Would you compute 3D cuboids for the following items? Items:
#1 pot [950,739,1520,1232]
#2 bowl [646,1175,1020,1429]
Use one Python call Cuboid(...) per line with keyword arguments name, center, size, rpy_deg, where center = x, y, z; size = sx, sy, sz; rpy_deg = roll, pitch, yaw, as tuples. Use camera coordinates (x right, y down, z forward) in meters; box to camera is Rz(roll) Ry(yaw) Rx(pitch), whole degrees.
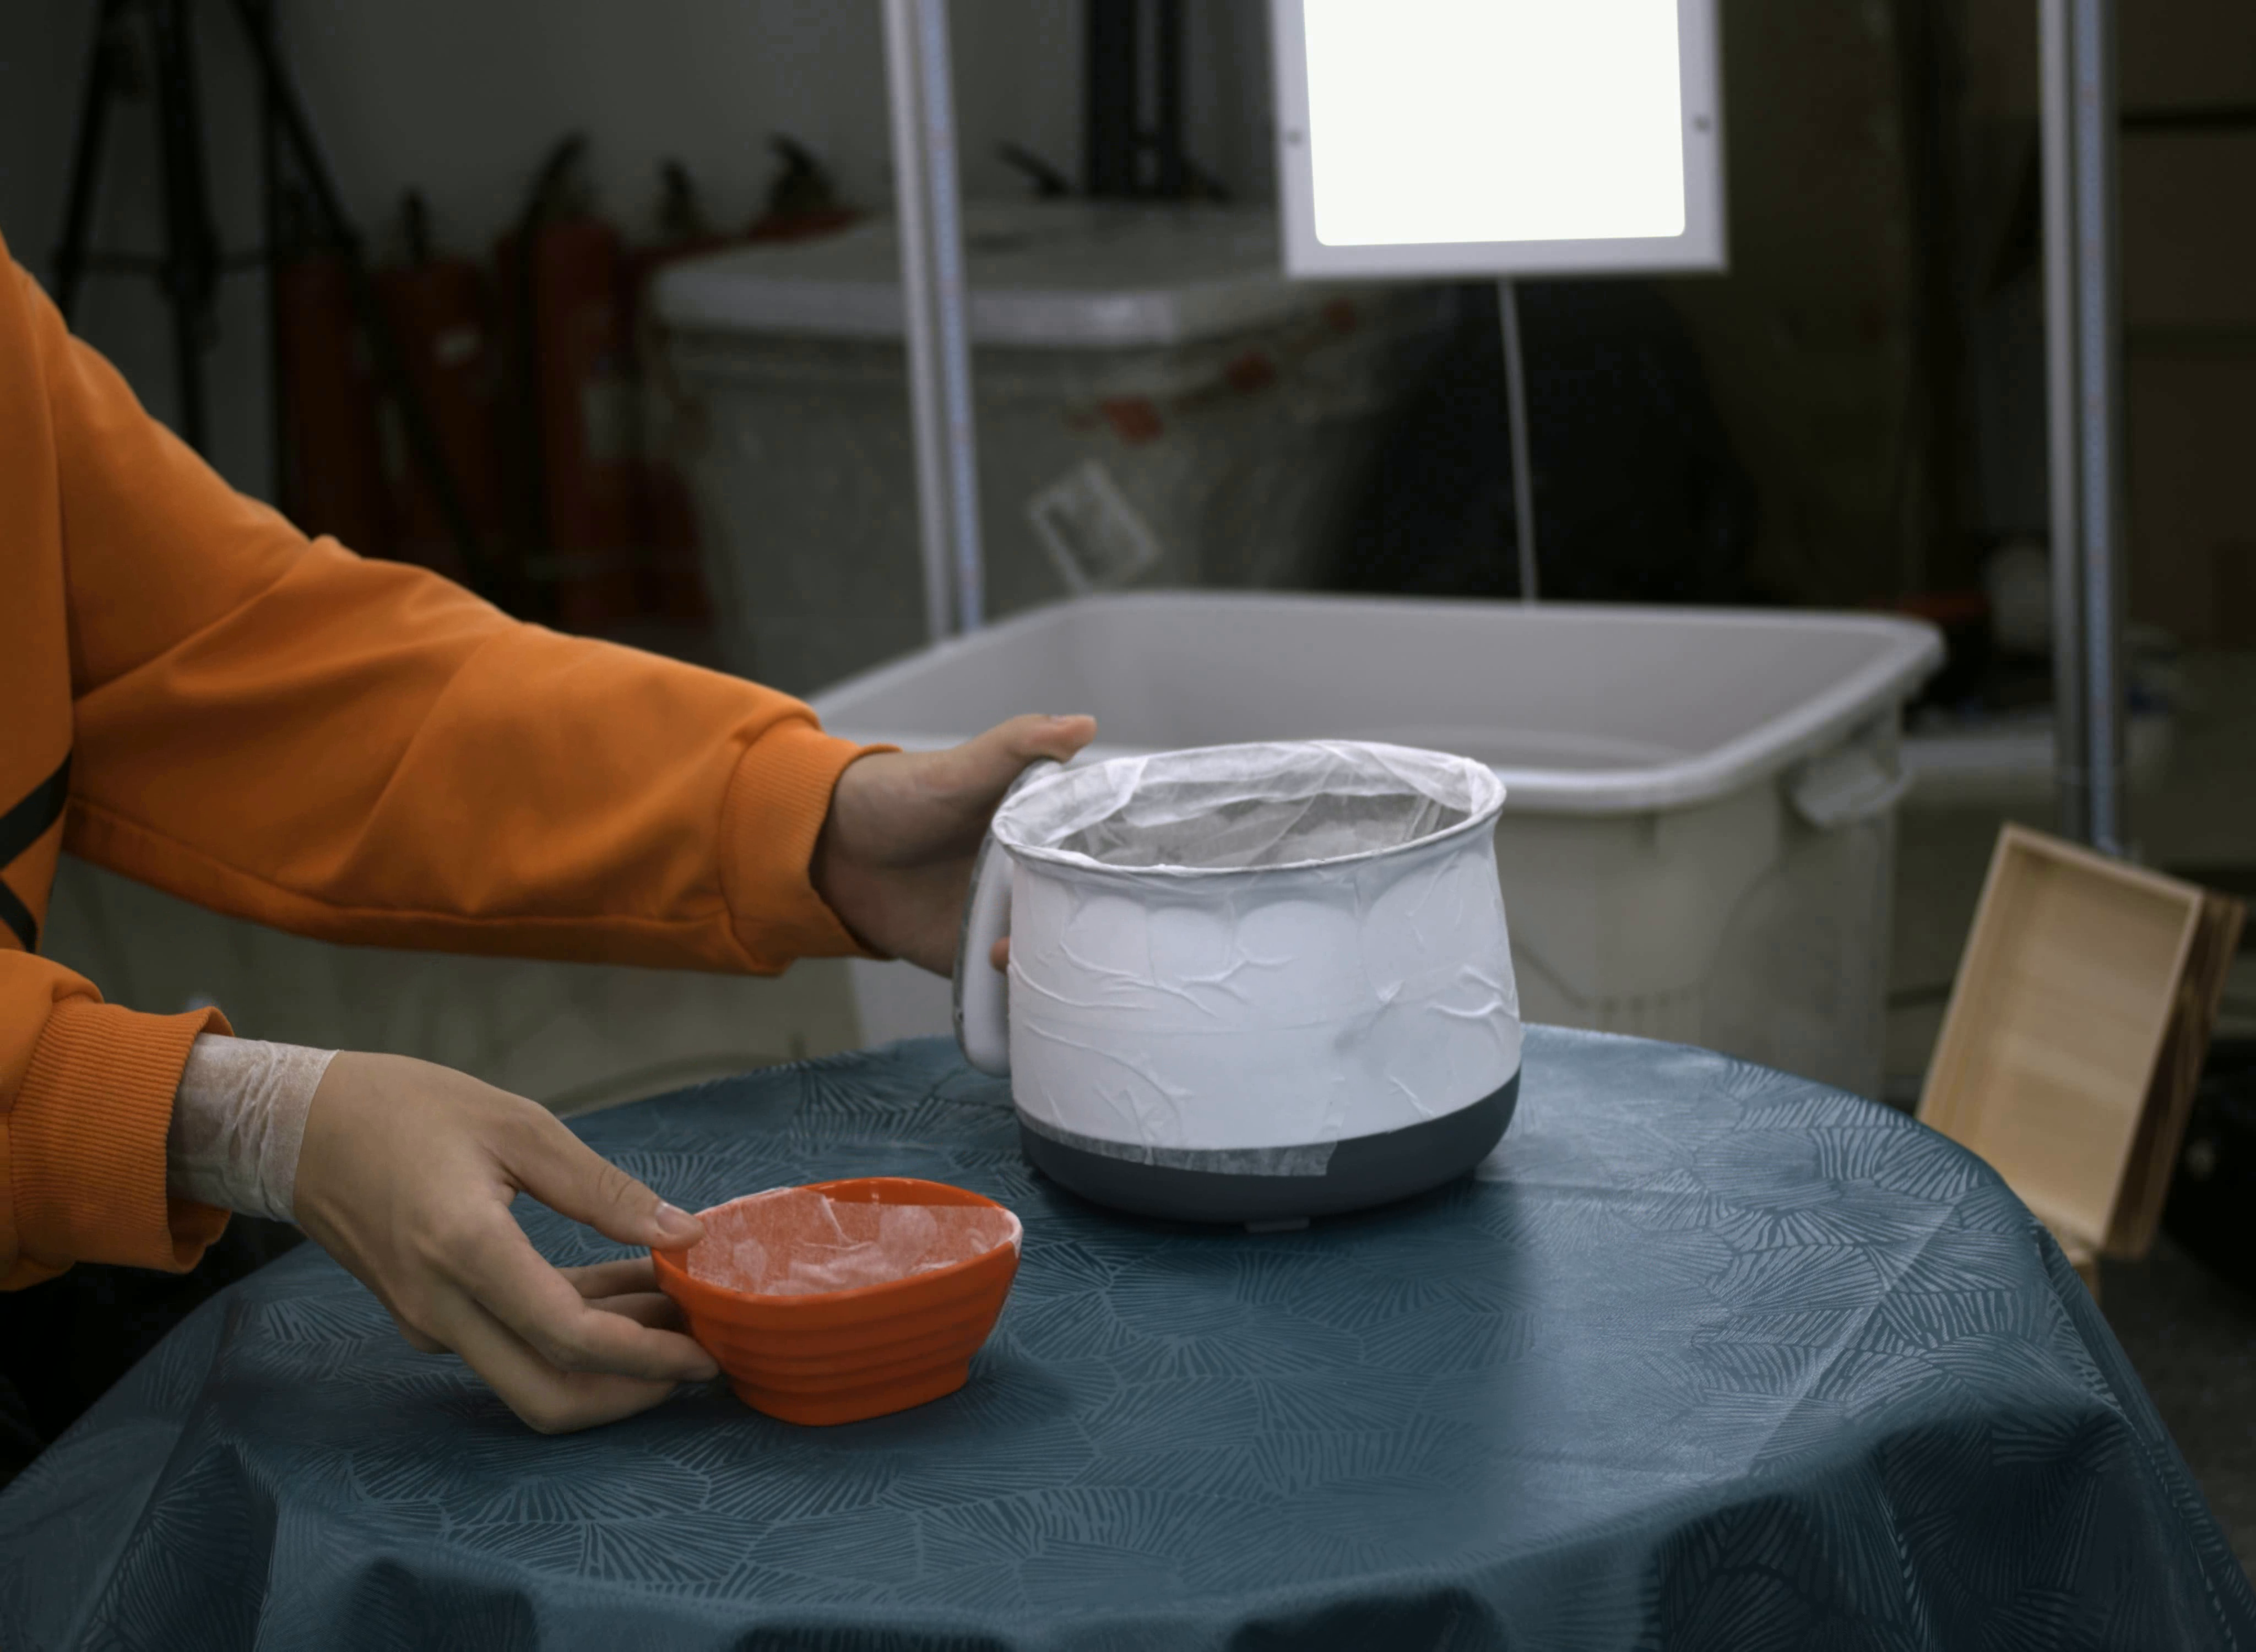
Cuboid(name="pot", center=(0.025, 0.050, 1.910), size=(0.239, 0.137, 0.174), rpy_deg=(9, 19, 43))
Cuboid(name="bowl", center=(-0.090, 0.151, 1.724), size=(0.118, 0.051, 0.119), rpy_deg=(-5, 15, 0))
